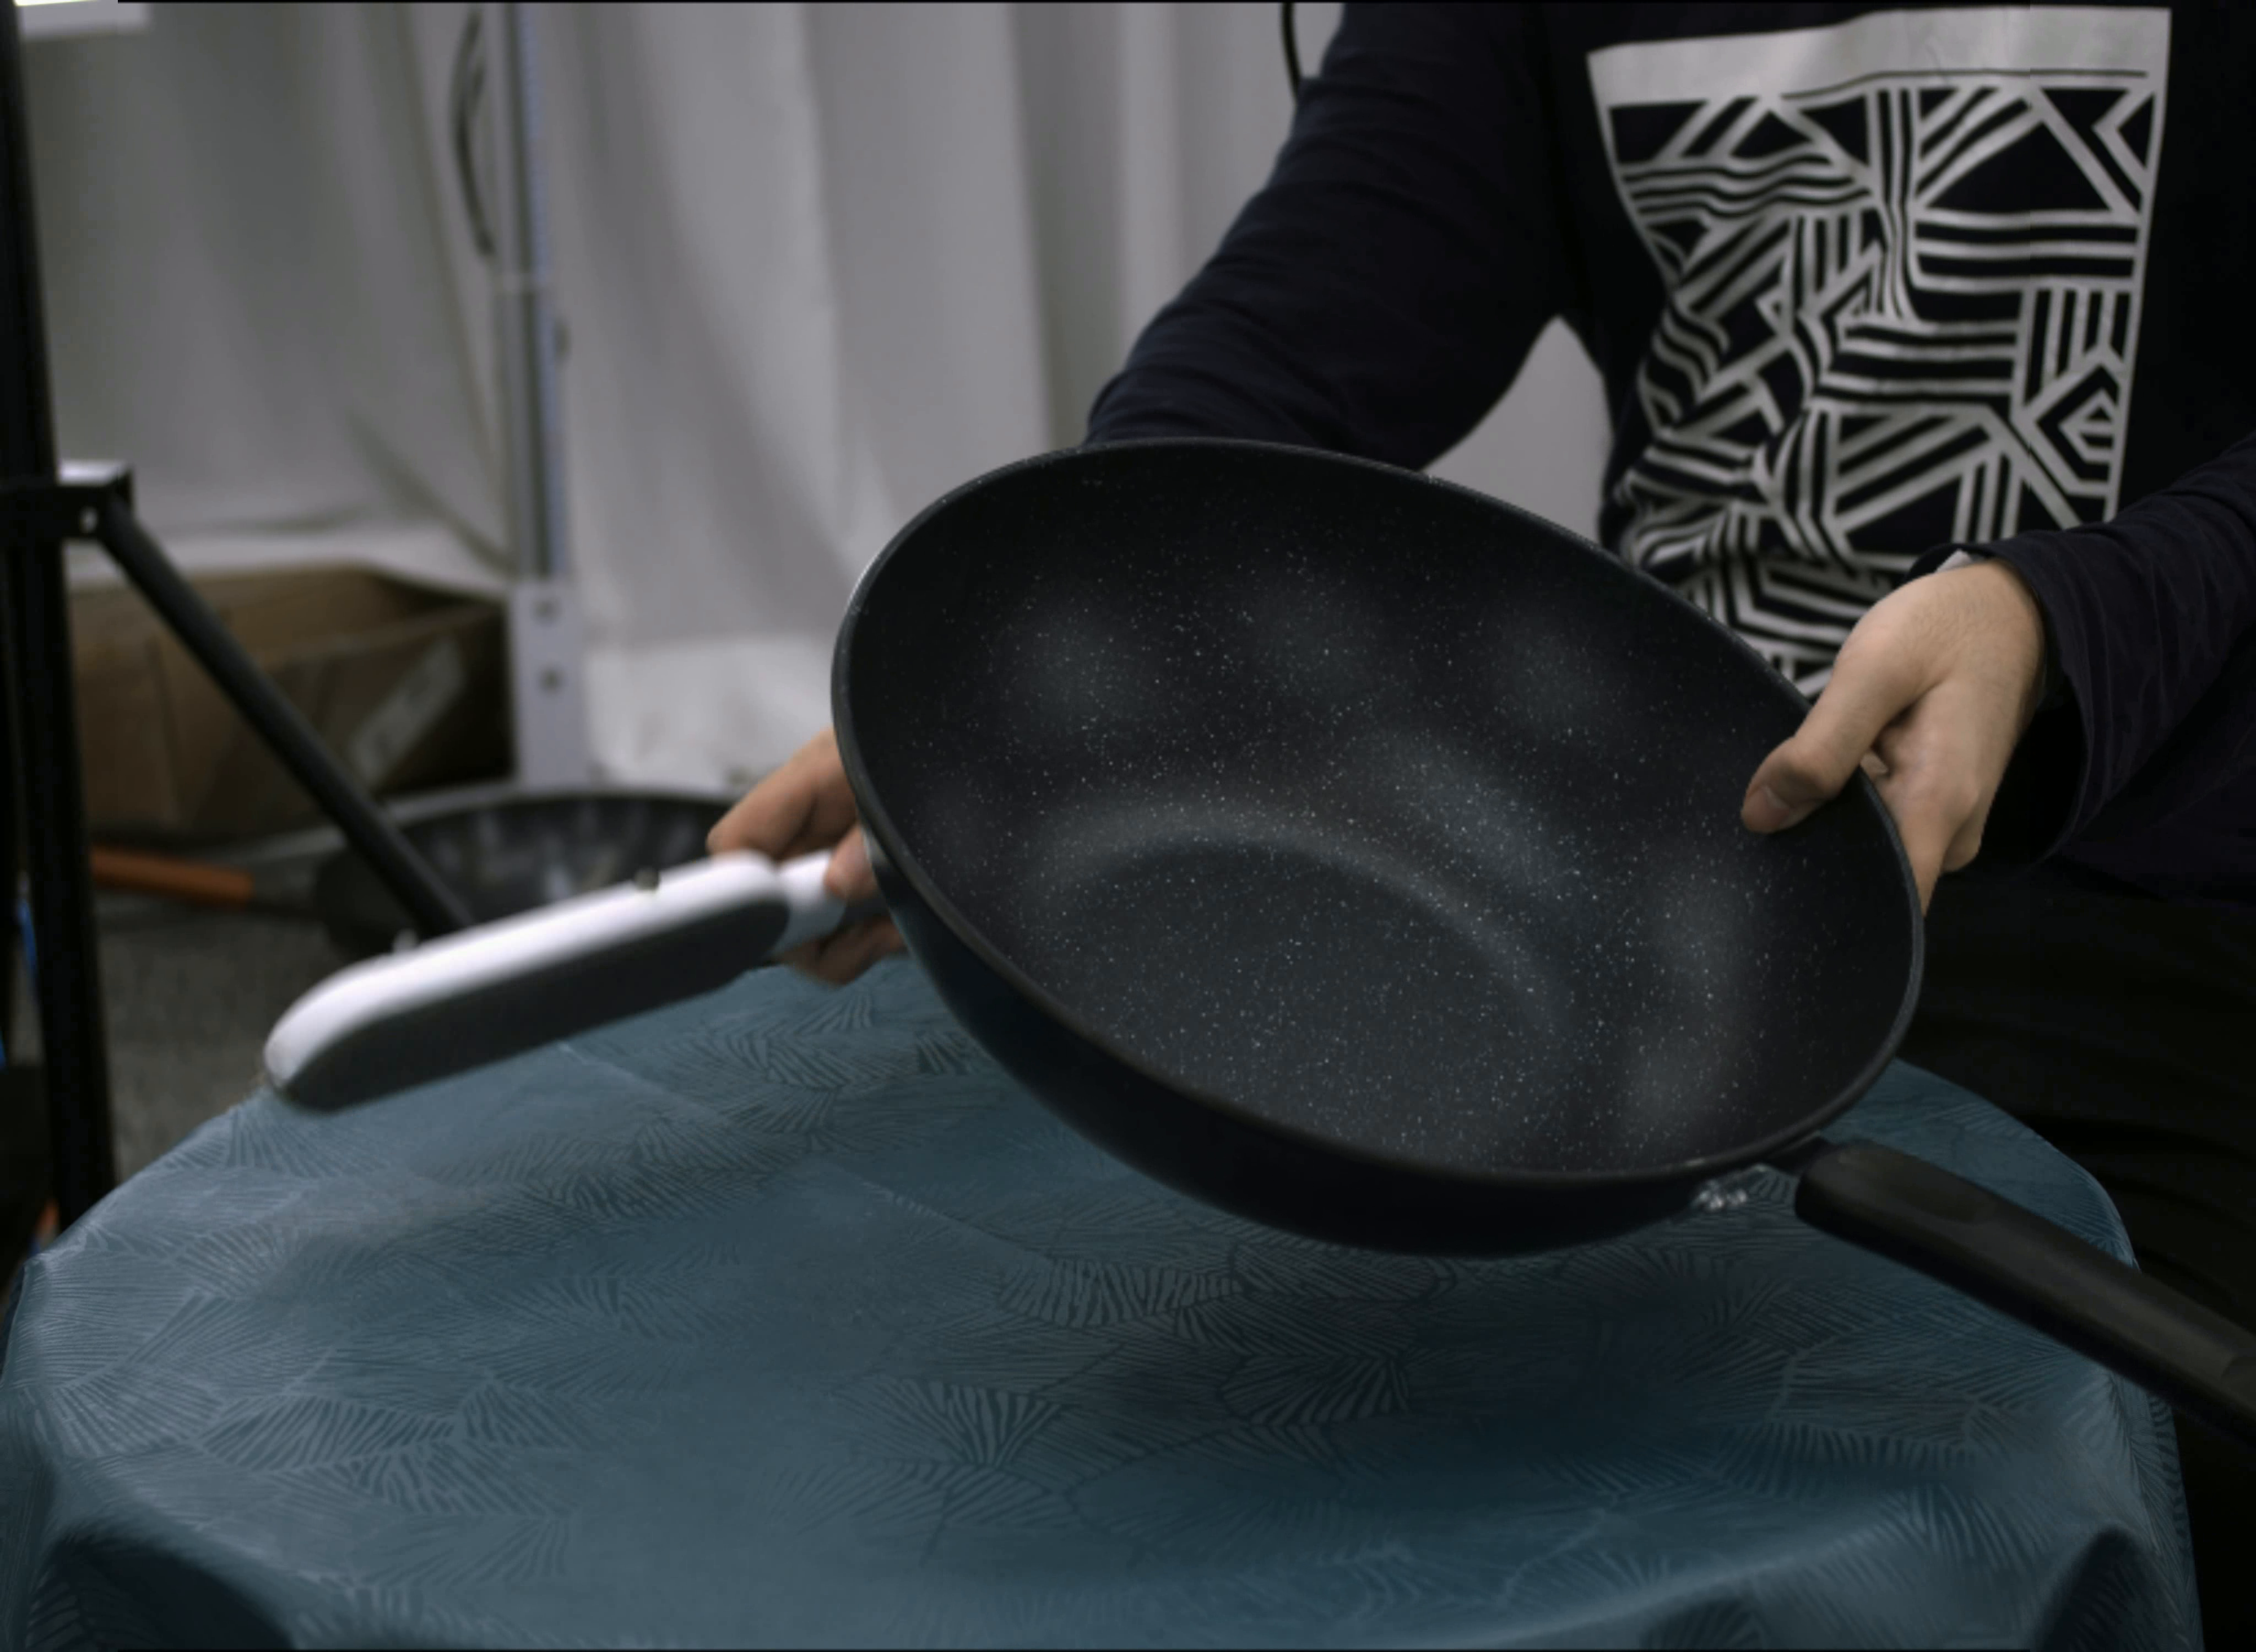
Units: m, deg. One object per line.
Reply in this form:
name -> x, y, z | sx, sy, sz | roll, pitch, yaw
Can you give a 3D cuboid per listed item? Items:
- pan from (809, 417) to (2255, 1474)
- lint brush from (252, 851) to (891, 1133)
pan -> 0.116, 0.057, 1.412 | 0.485, 0.112, 0.304 | 39, 43, 26
lint brush -> -0.130, 0.036, 1.616 | 0.302, 0.060, 0.021 | -18, 62, -35
